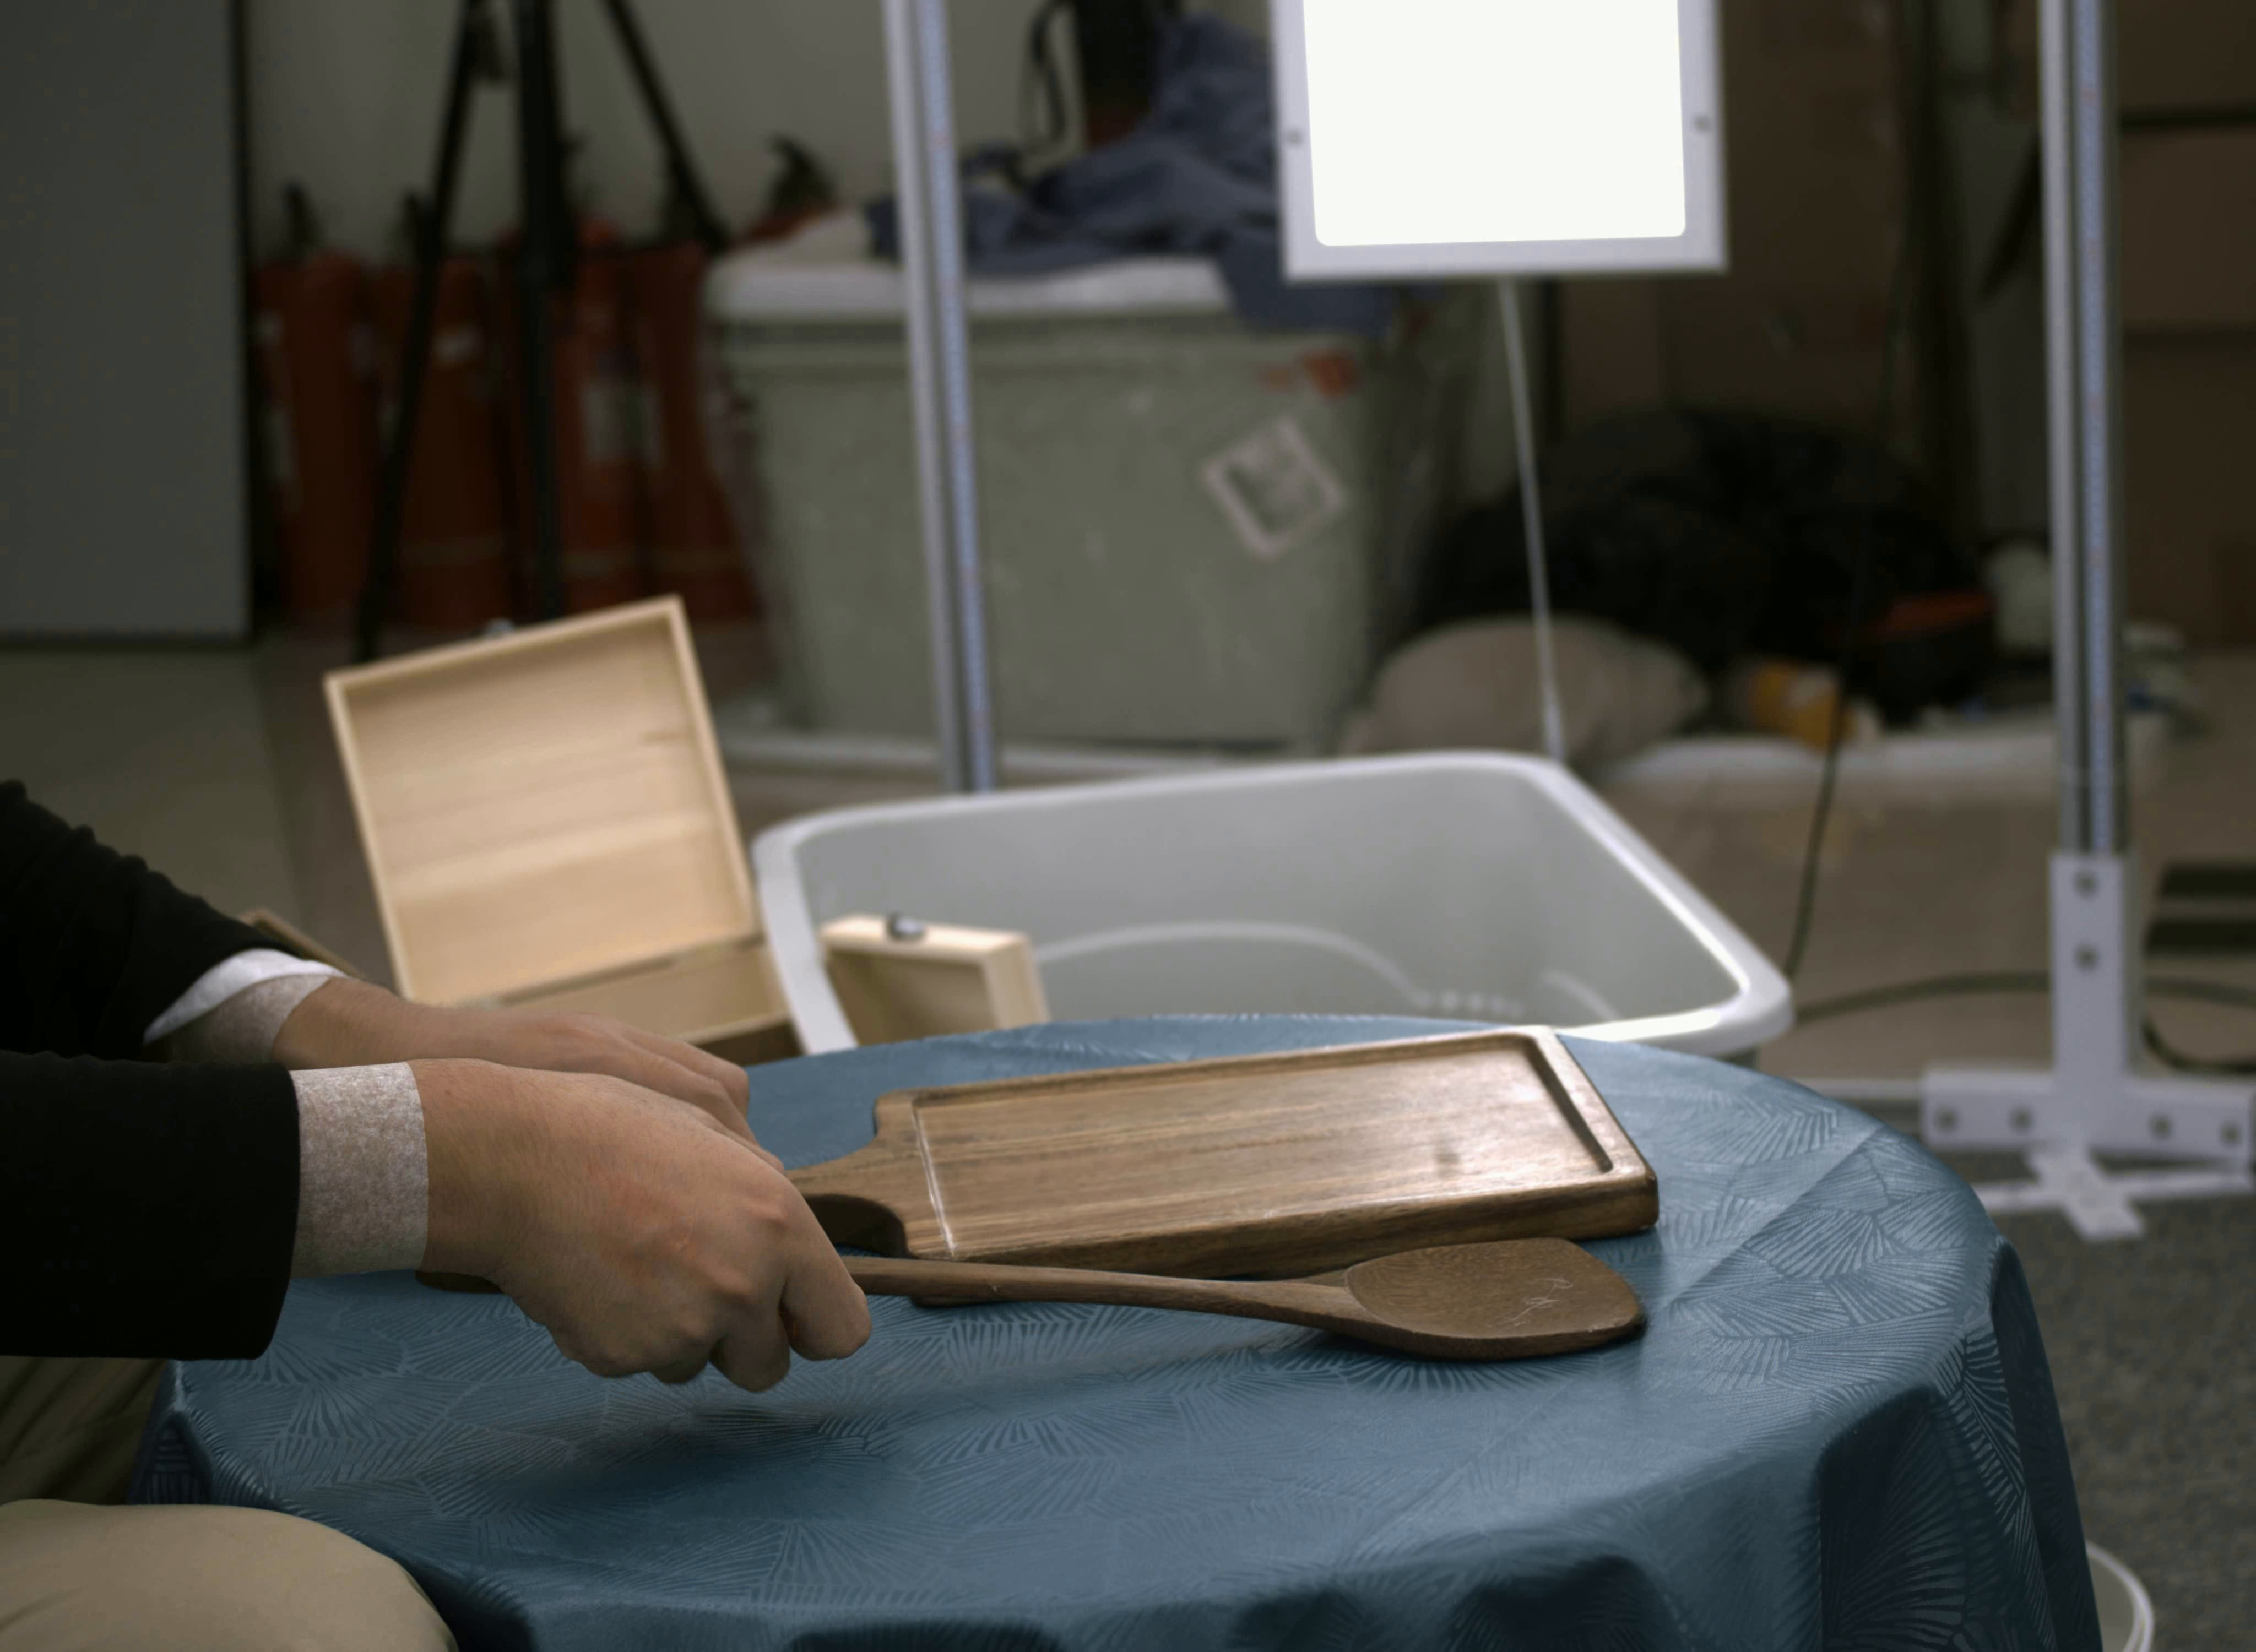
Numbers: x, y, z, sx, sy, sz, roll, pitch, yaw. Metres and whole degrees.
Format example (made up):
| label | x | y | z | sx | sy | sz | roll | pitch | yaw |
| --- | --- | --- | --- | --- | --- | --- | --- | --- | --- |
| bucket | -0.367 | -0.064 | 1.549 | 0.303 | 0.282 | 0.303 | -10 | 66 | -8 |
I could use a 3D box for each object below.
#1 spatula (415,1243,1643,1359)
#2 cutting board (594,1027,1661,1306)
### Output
| label | x | y | z | sx | sy | sz | roll | pitch | yaw |
| --- | --- | --- | --- | --- | --- | --- | --- | --- | --- |
| spatula | -0.029 | 0.144 | 1.719 | 0.382 | 0.016 | 0.096 | 2 | 13 | -7 |
| cutting board | -0.007 | 0.119 | 1.888 | 0.350 | 0.023 | 0.201 | -6 | 14 | -3 |
